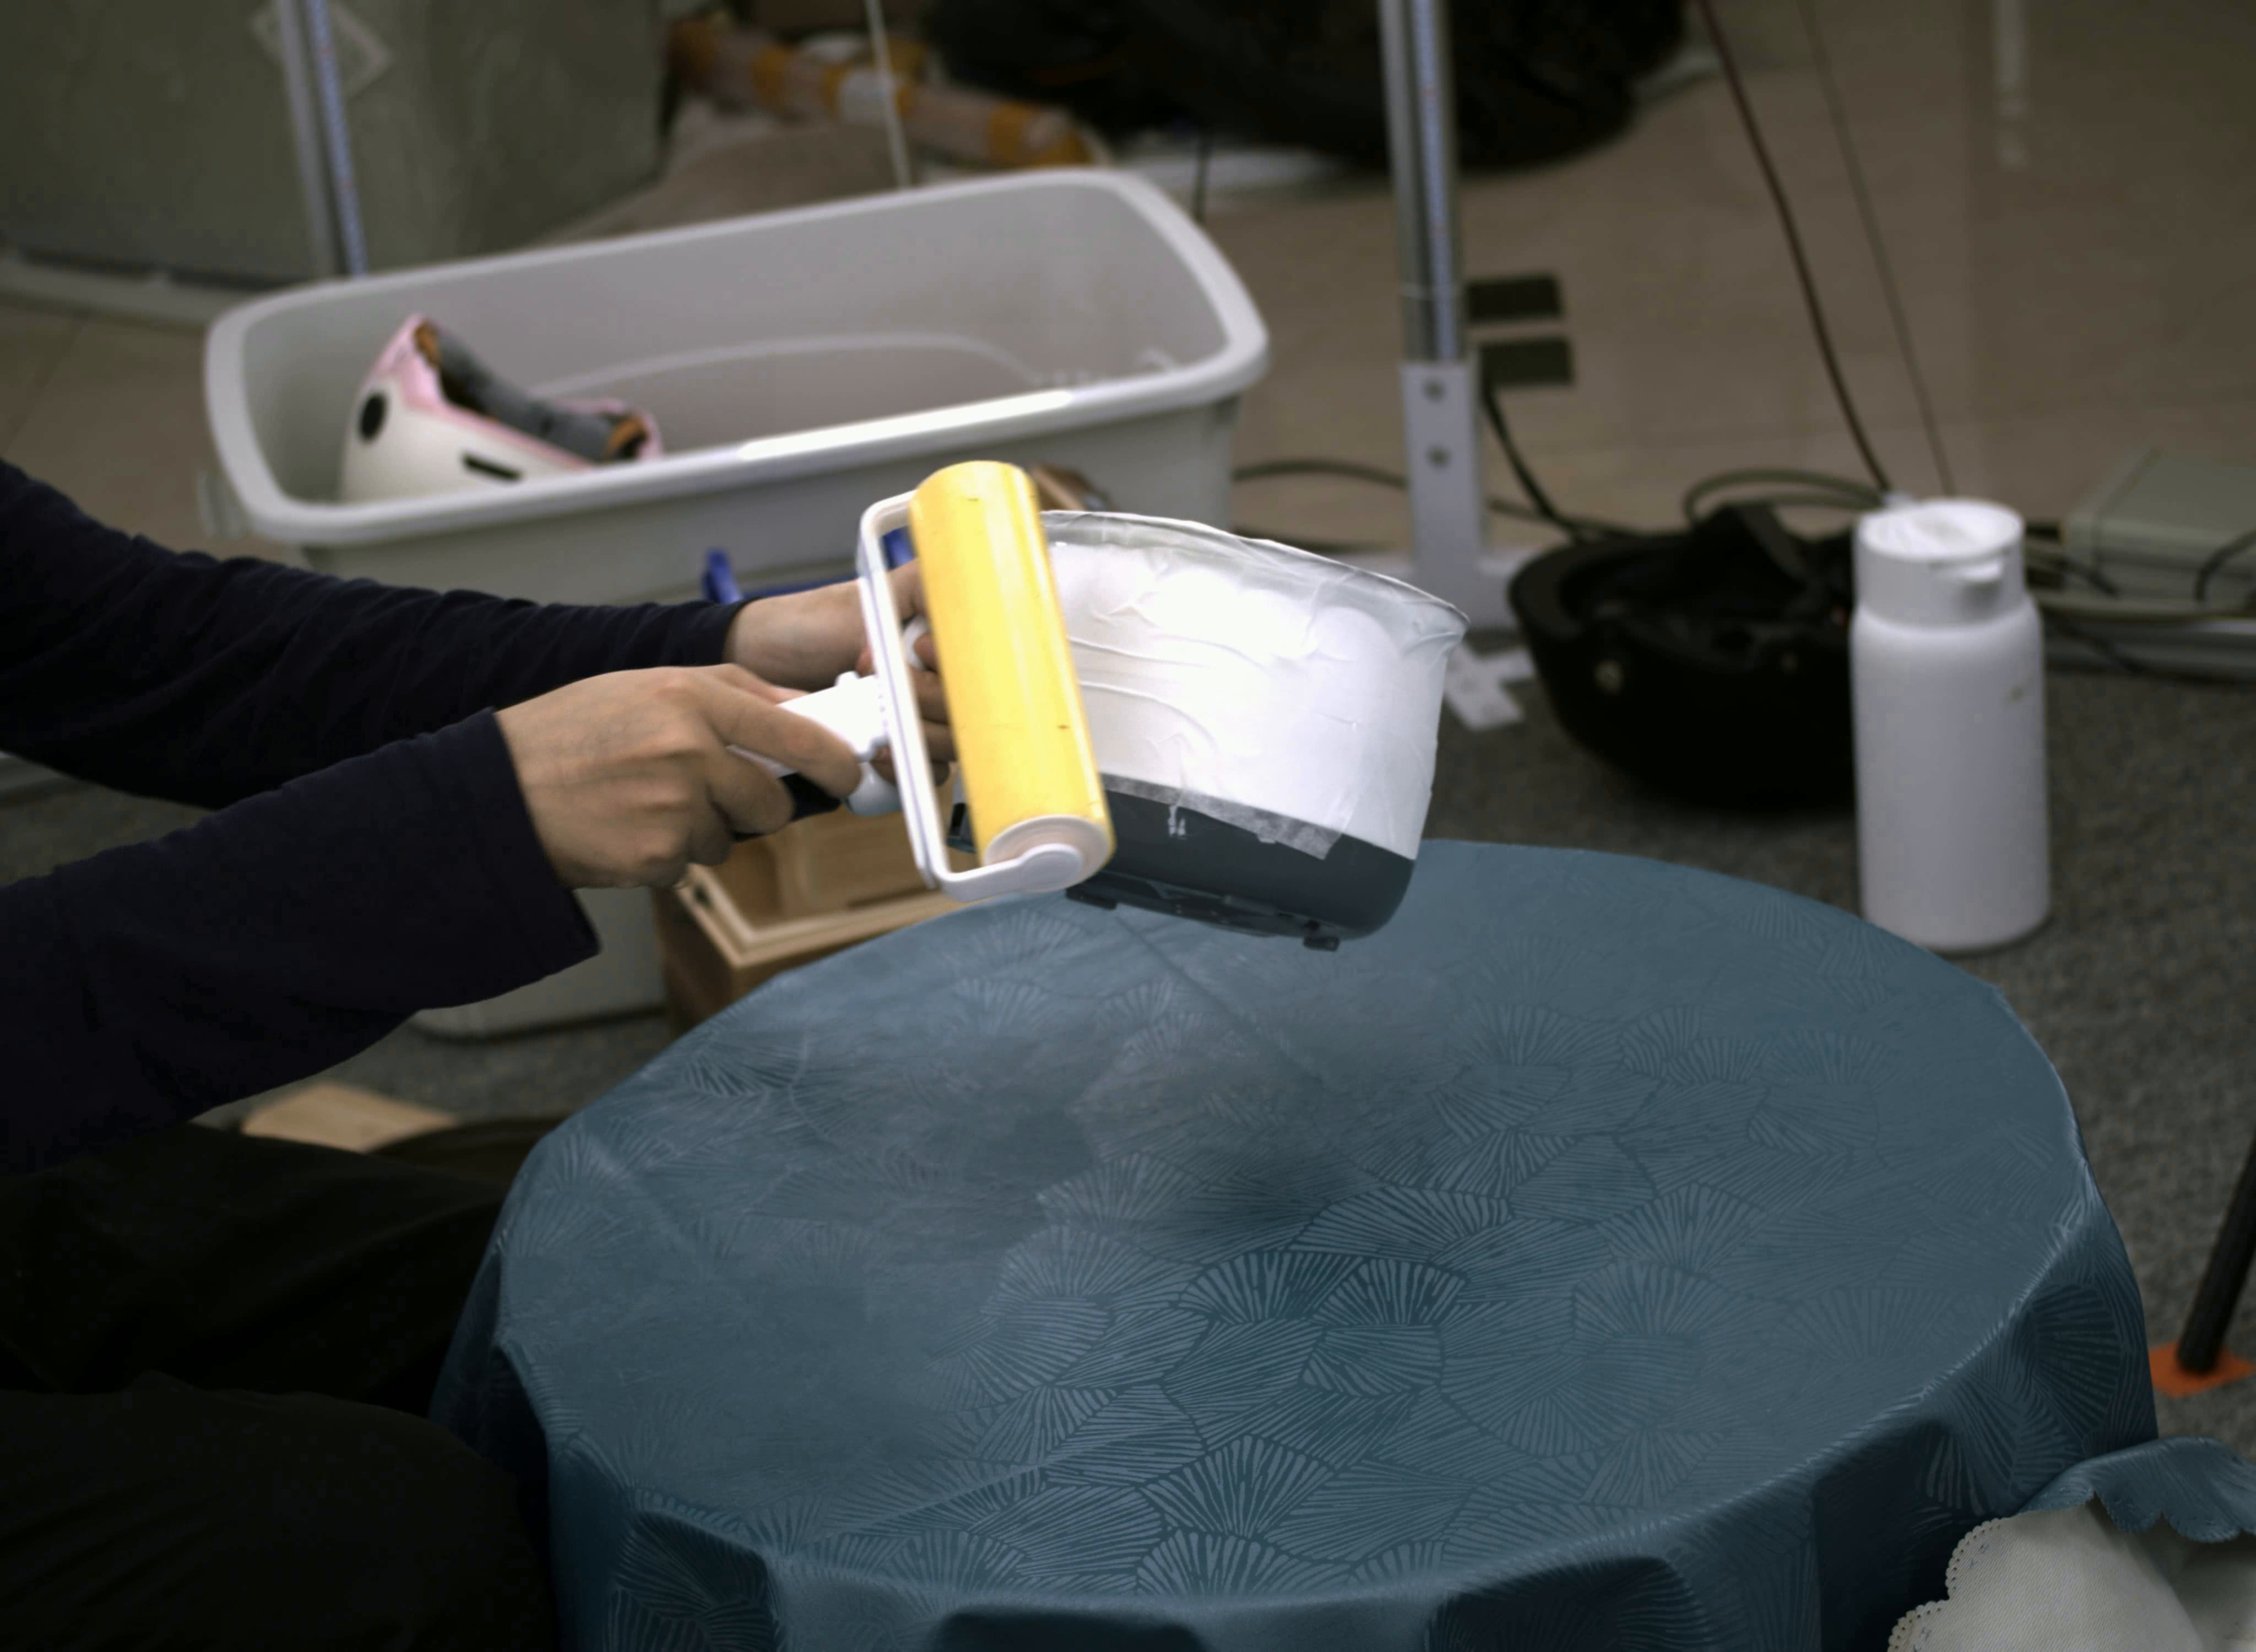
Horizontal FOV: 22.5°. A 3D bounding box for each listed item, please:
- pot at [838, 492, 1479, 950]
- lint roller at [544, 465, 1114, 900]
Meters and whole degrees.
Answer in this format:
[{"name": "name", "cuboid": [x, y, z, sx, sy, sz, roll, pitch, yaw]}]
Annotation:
[{"name": "pot", "cuboid": [0.006, -0.044, 2.160, 0.232, 0.136, 0.180, 14, -7, 18]}, {"name": "lint roller", "cuboid": [-0.114, -0.036, 1.996, 0.191, 0.052, 0.171, -12, 55, -4]}]
